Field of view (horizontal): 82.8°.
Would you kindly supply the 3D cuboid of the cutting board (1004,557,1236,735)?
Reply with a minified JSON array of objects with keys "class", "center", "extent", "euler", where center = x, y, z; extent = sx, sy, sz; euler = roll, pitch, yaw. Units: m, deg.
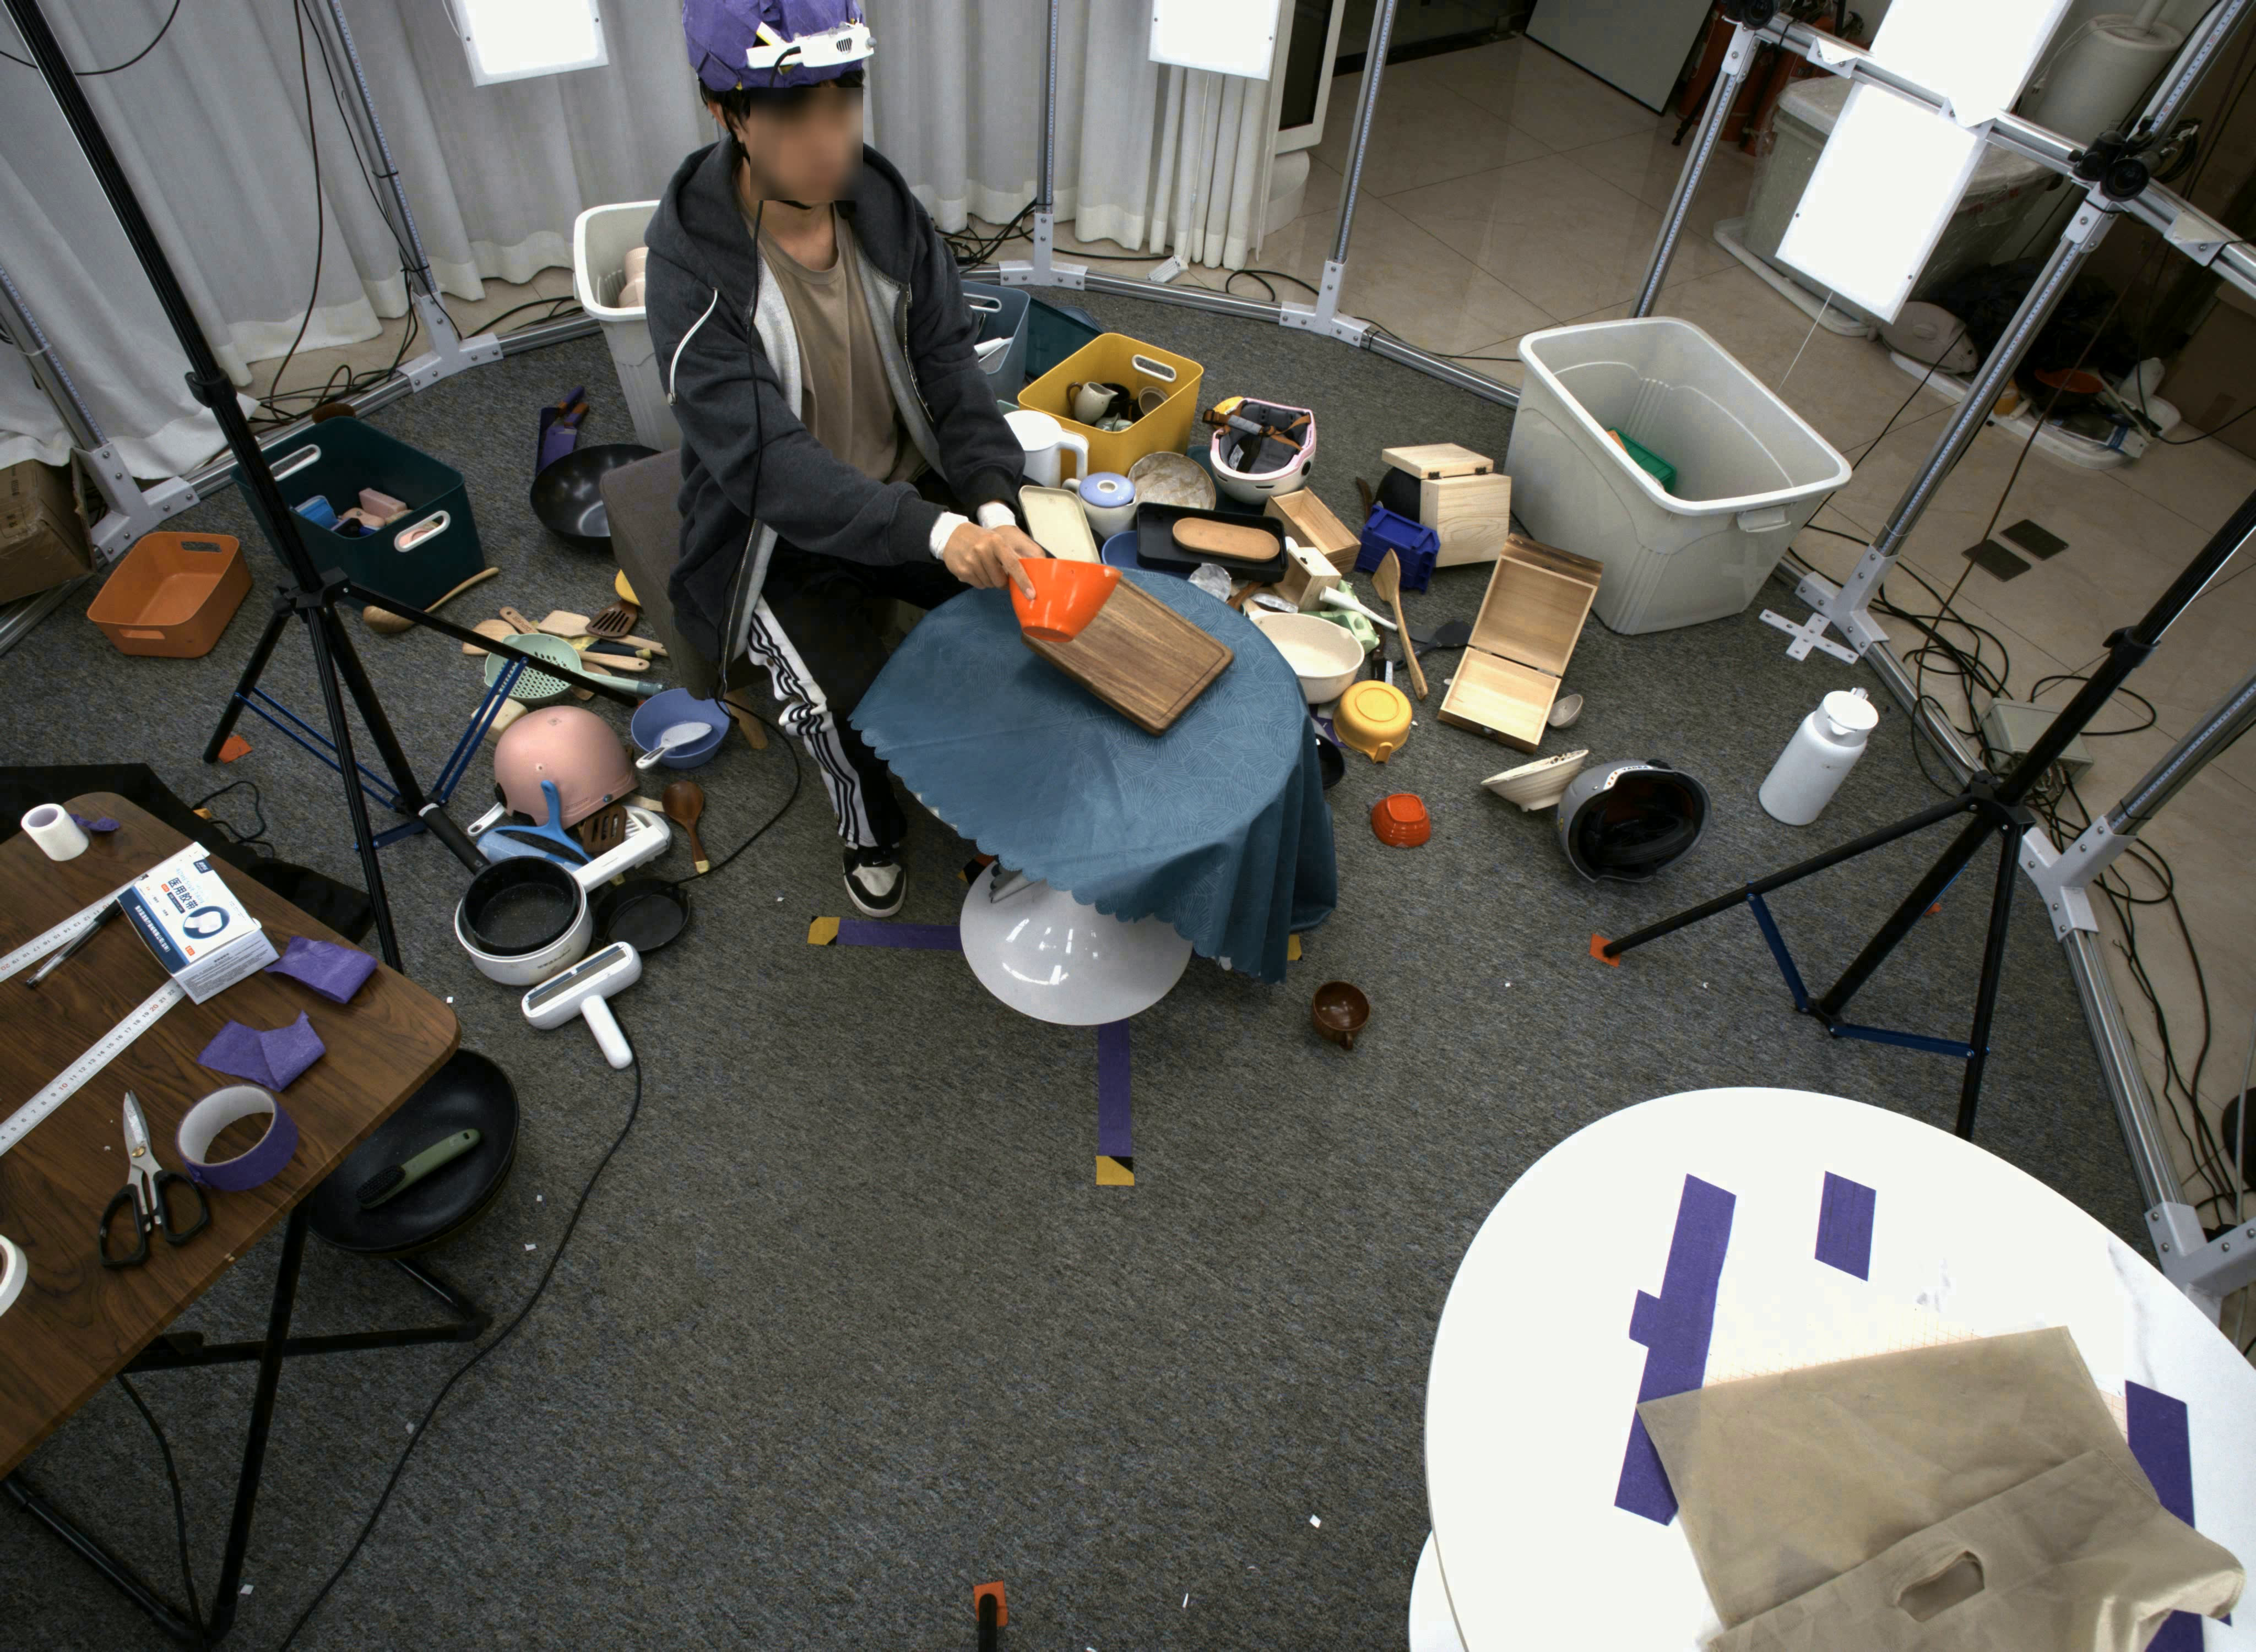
[{"class":"cutting board","center":[-0.035,-0.287,1.857],"extent":[0.355,0.023,0.204],"euler":[35,56,13]}]

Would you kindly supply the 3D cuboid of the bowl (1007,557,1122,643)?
[{"class":"bowl","center":[-0.088,-0.290,1.643],"extent":[0.148,0.147,0.105],"euler":[10,84,4]}]
